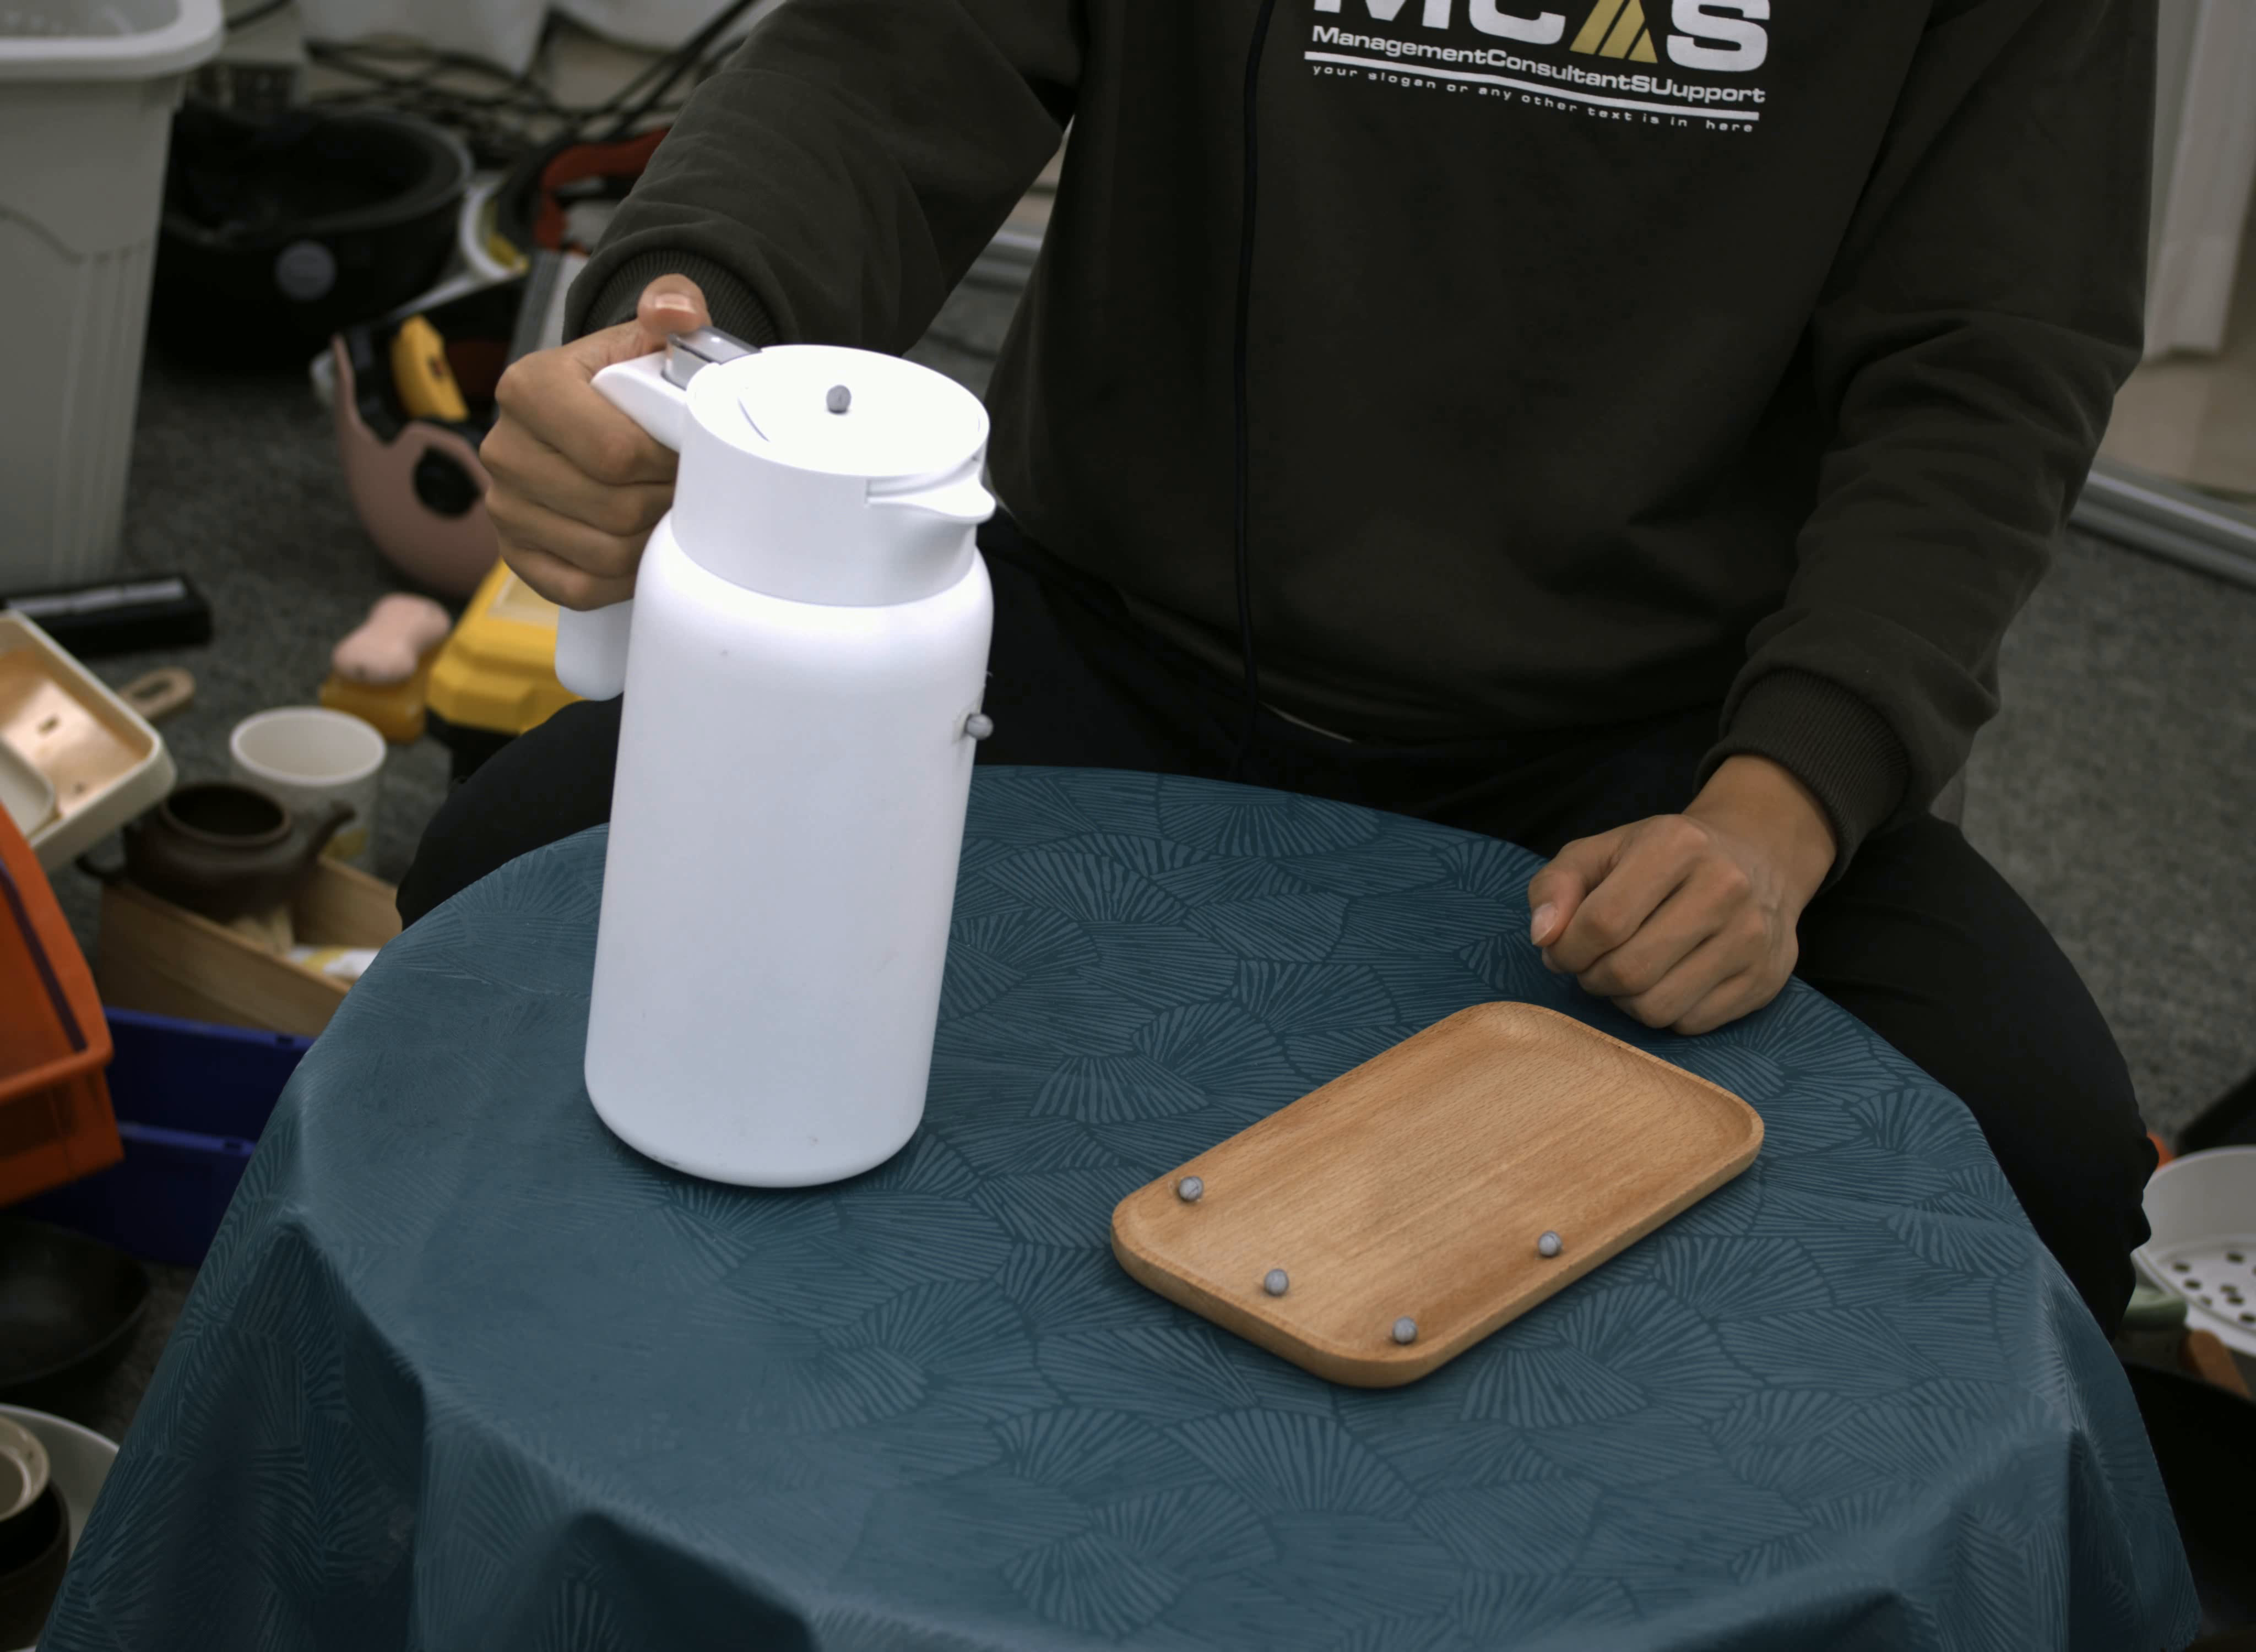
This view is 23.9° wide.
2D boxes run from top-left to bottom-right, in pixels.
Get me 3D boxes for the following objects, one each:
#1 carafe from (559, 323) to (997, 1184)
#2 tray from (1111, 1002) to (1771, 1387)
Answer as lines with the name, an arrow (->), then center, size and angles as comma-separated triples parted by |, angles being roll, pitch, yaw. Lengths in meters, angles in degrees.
carafe -> -0.125, -0.027, 1.772 | 0.174, 0.268, 0.123 | 30, 36, 34
tray -> 0.109, 0.124, 1.816 | 0.131, 0.023, 0.249 | 28, 32, 31
